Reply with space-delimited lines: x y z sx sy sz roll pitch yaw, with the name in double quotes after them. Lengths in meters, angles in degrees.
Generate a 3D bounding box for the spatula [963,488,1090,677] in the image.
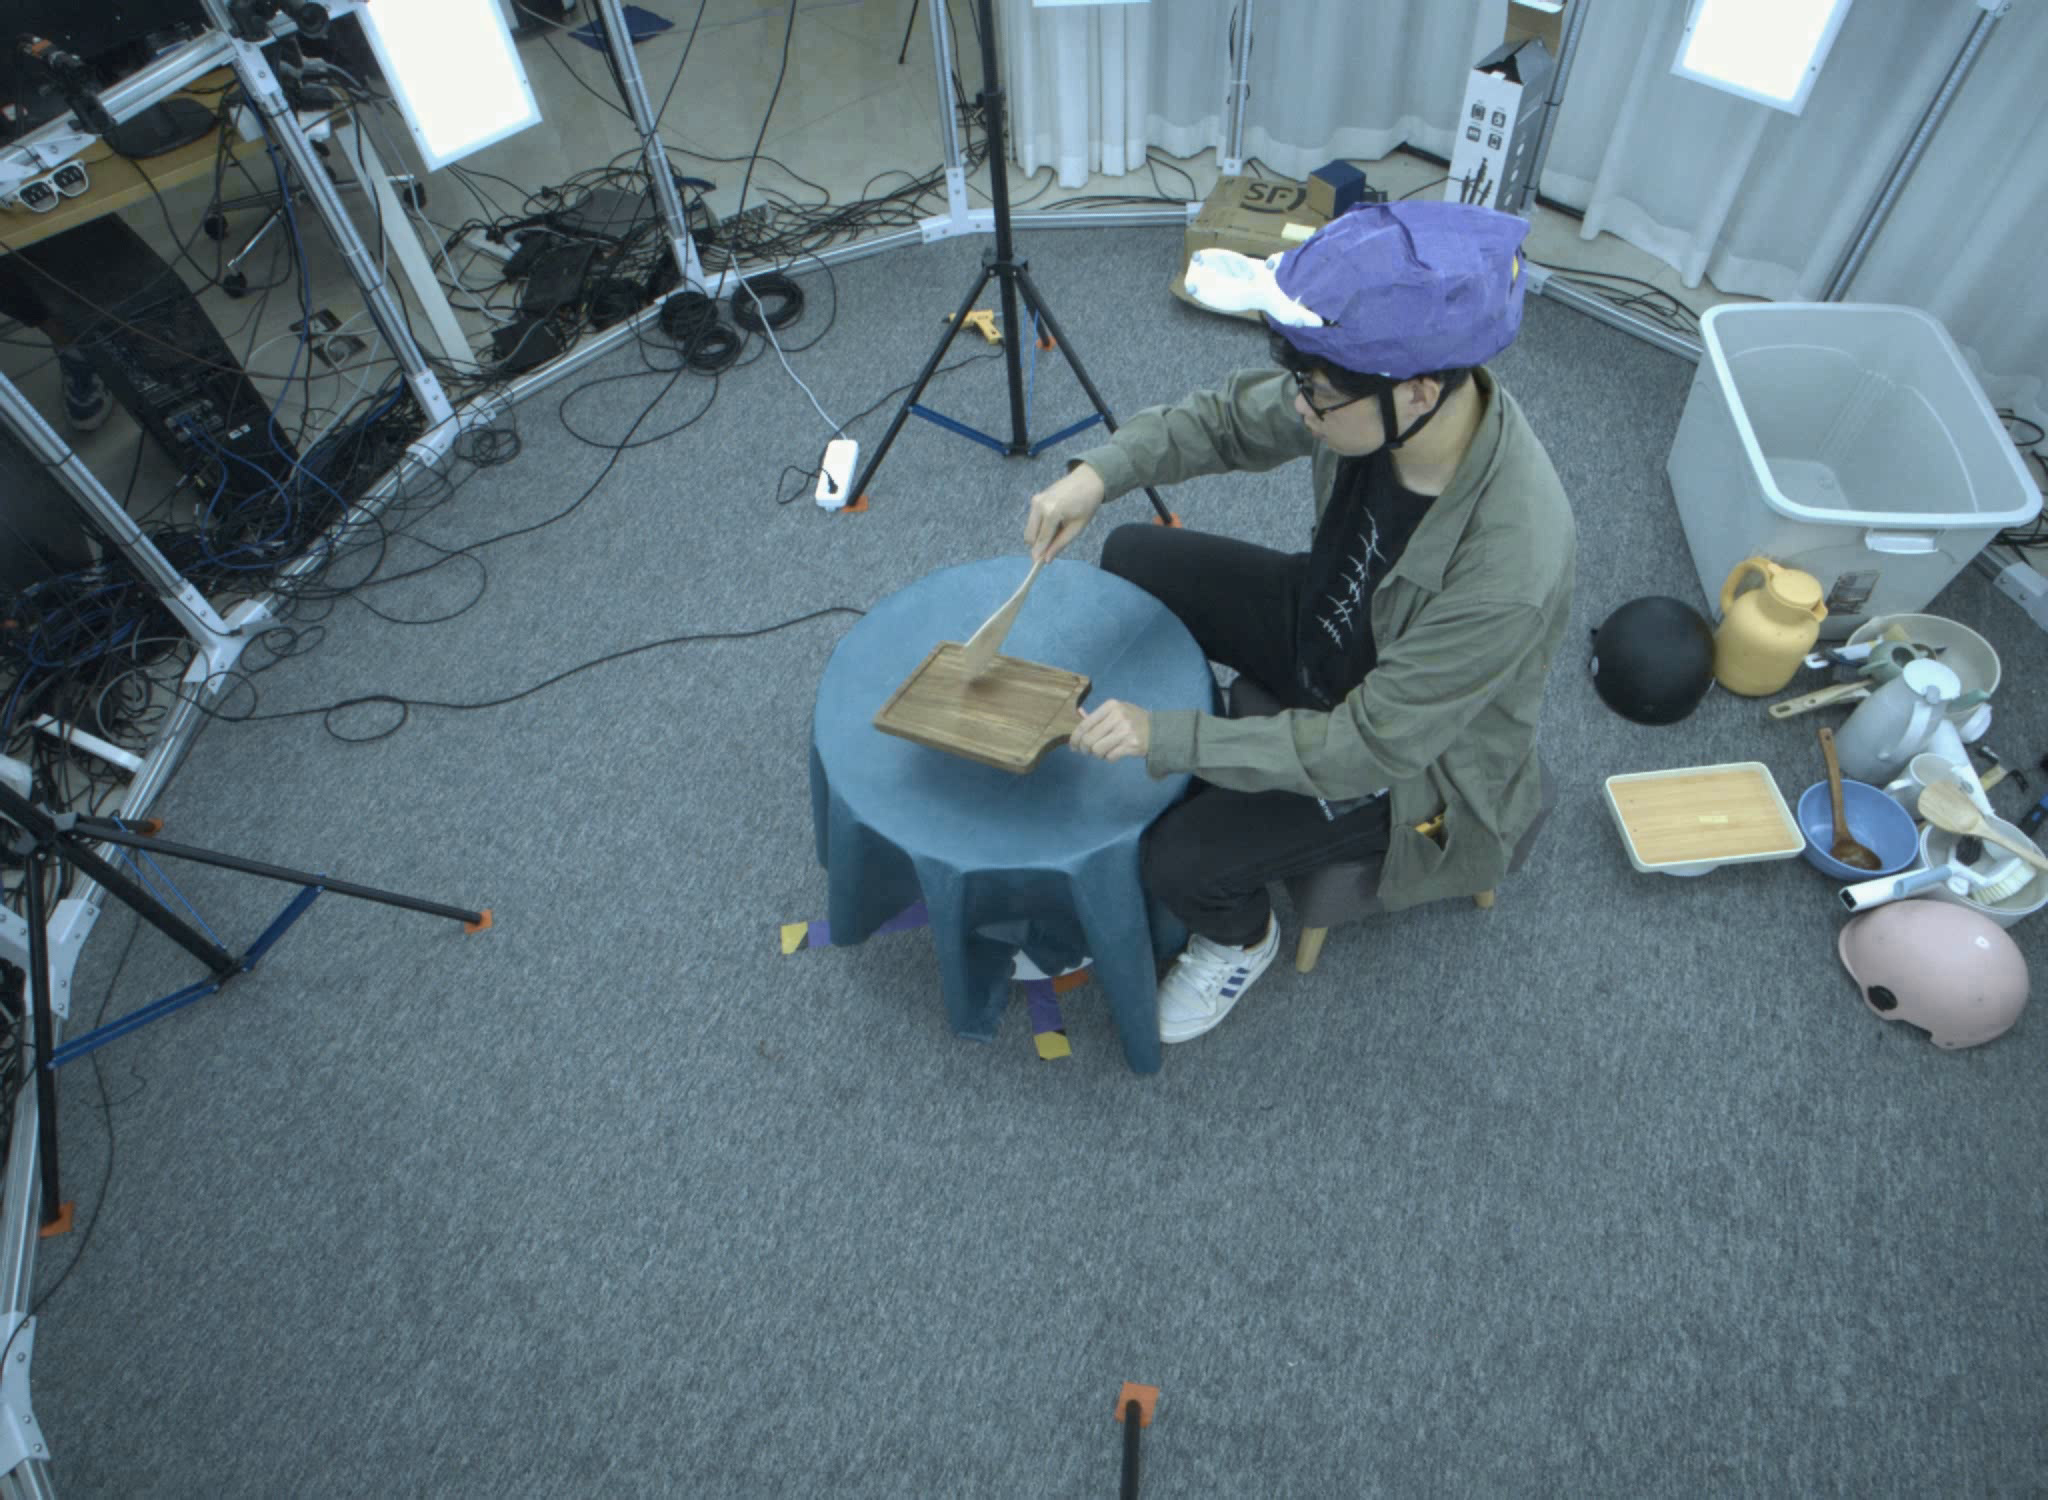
0.005 -0.247 1.742 0.016 0.081 0.328 26 74 21 "spatula"

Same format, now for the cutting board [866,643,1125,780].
-0.024 -0.046 1.689 0.346 0.023 0.202 18 48 22 "cutting board"
